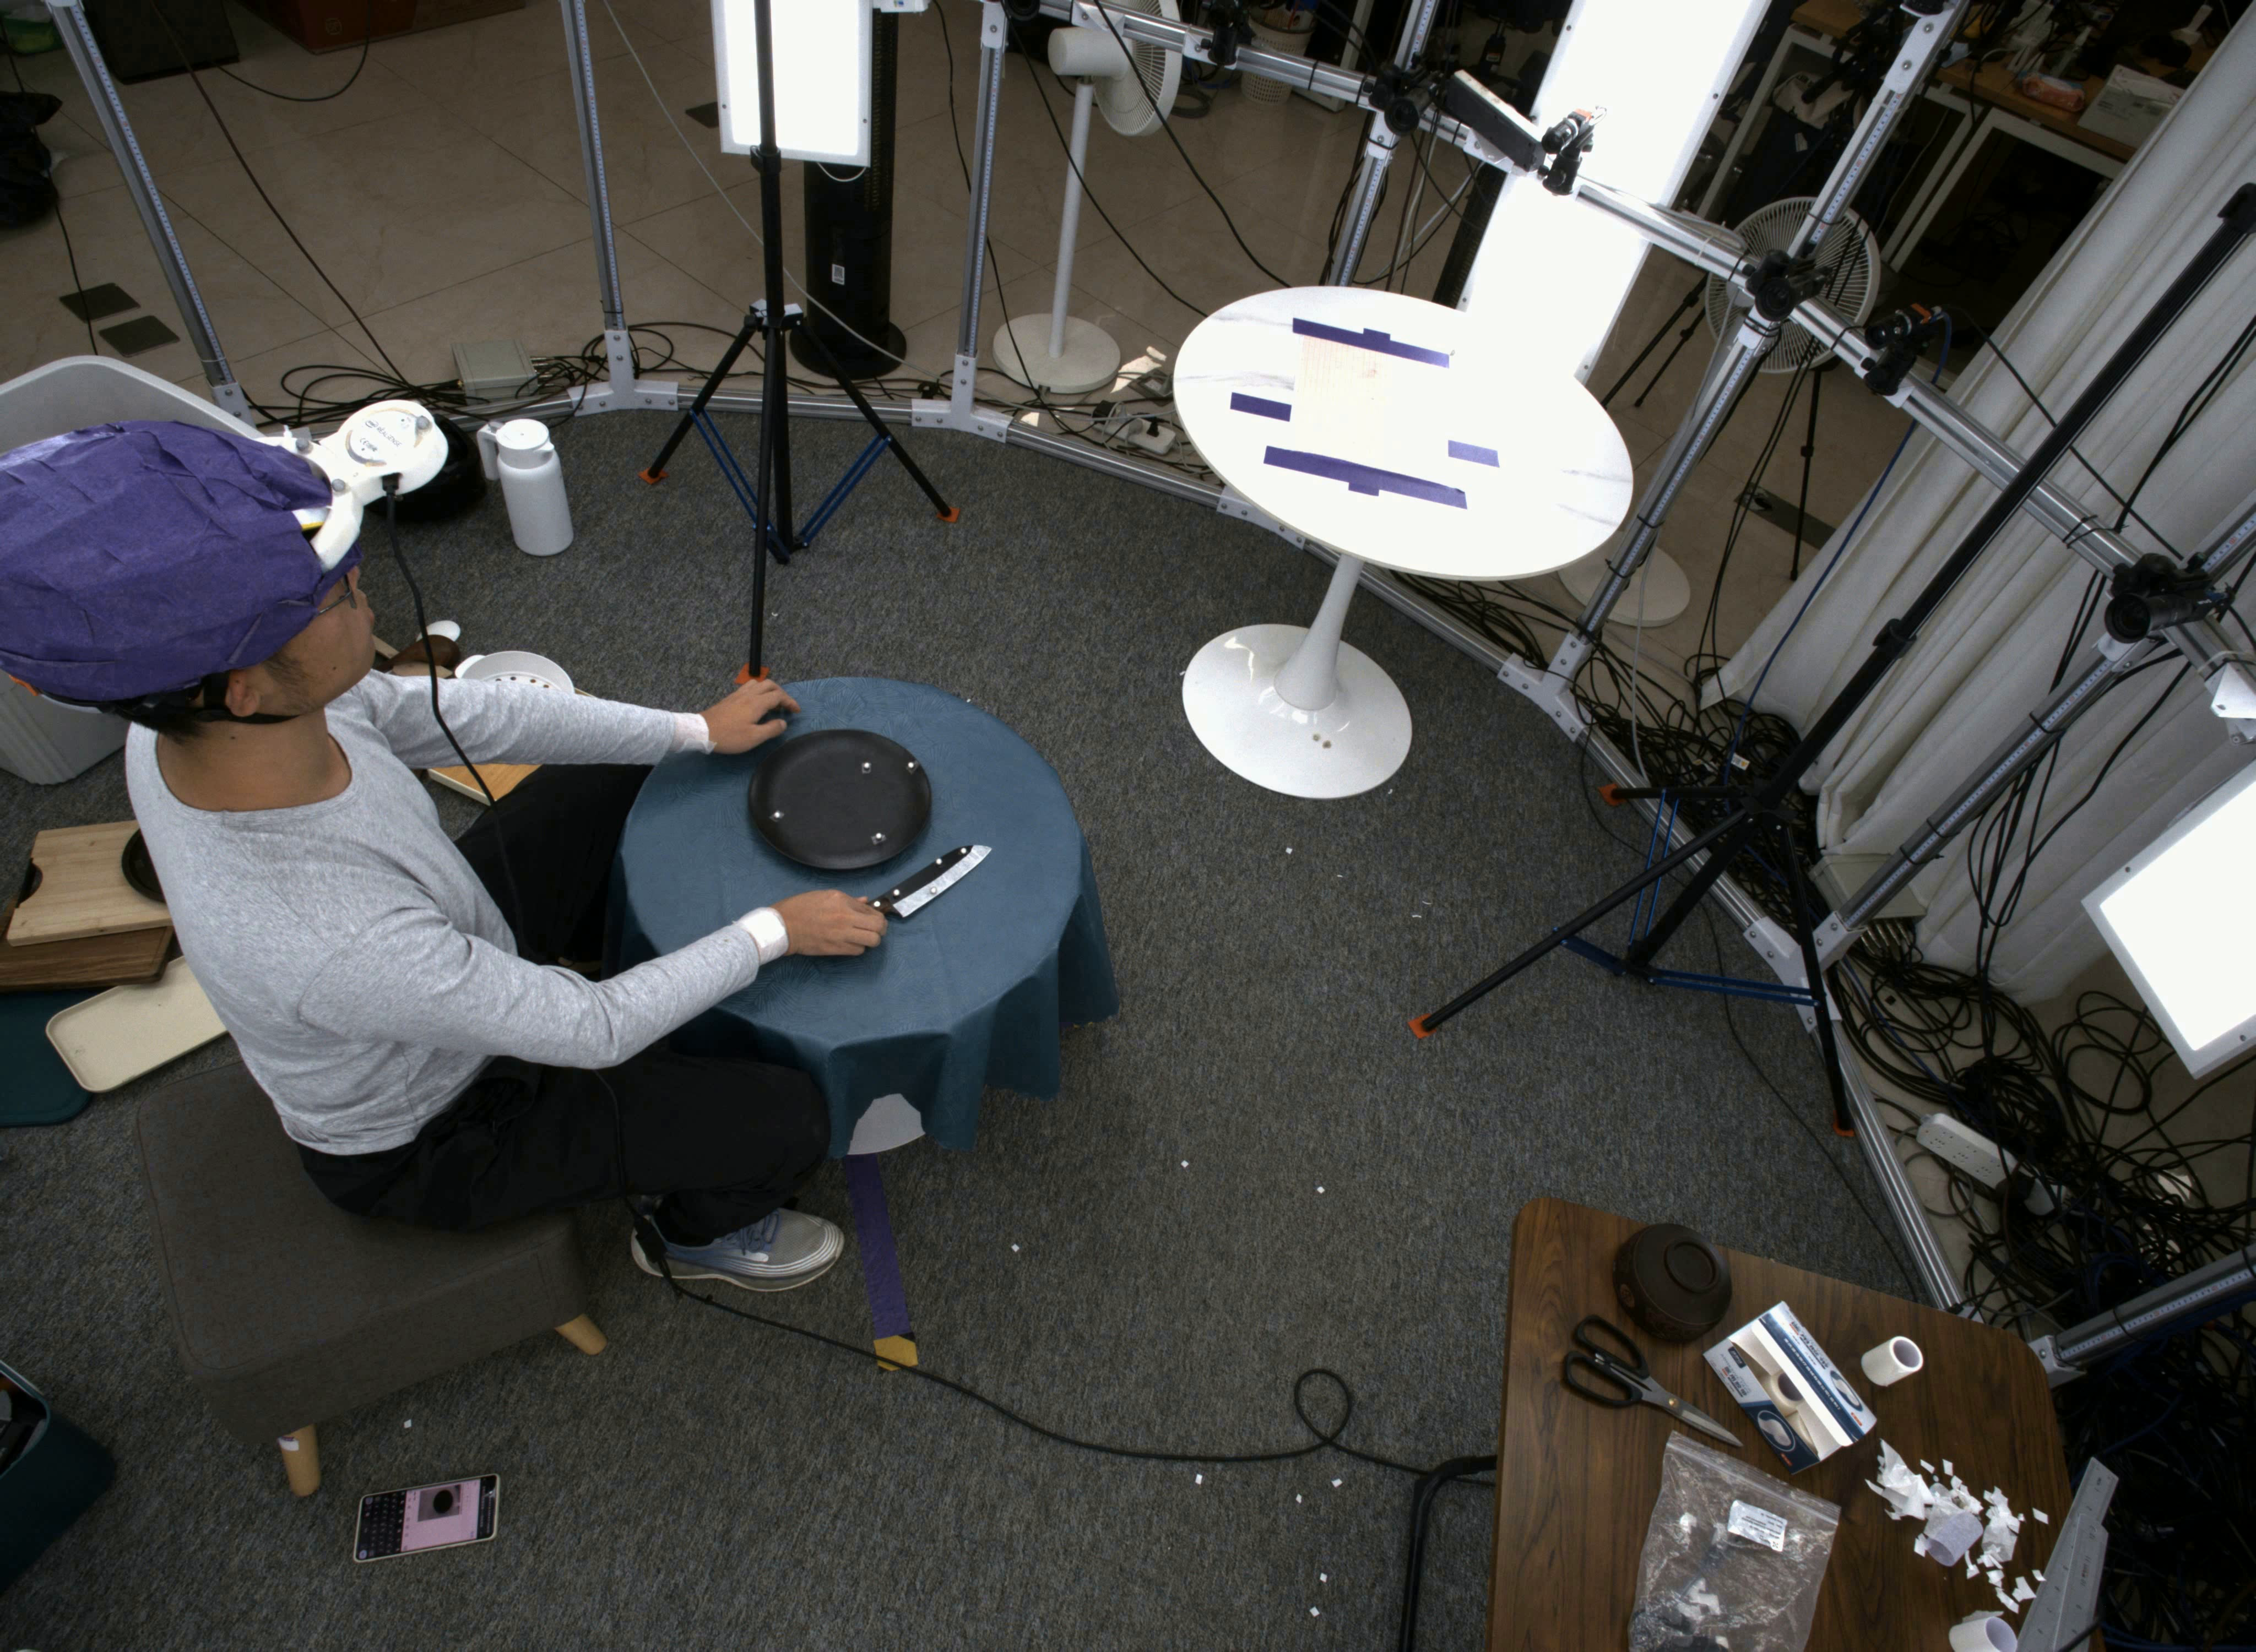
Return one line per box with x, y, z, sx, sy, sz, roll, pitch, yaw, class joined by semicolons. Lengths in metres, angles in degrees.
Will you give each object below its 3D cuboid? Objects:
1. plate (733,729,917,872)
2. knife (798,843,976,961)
-0.407;-0.033;1.749;0.244;0.024;0.240;8;53;-9;plate
-0.306;0.091;1.686;0.049;0.020;0.290;45;53;15;knife
